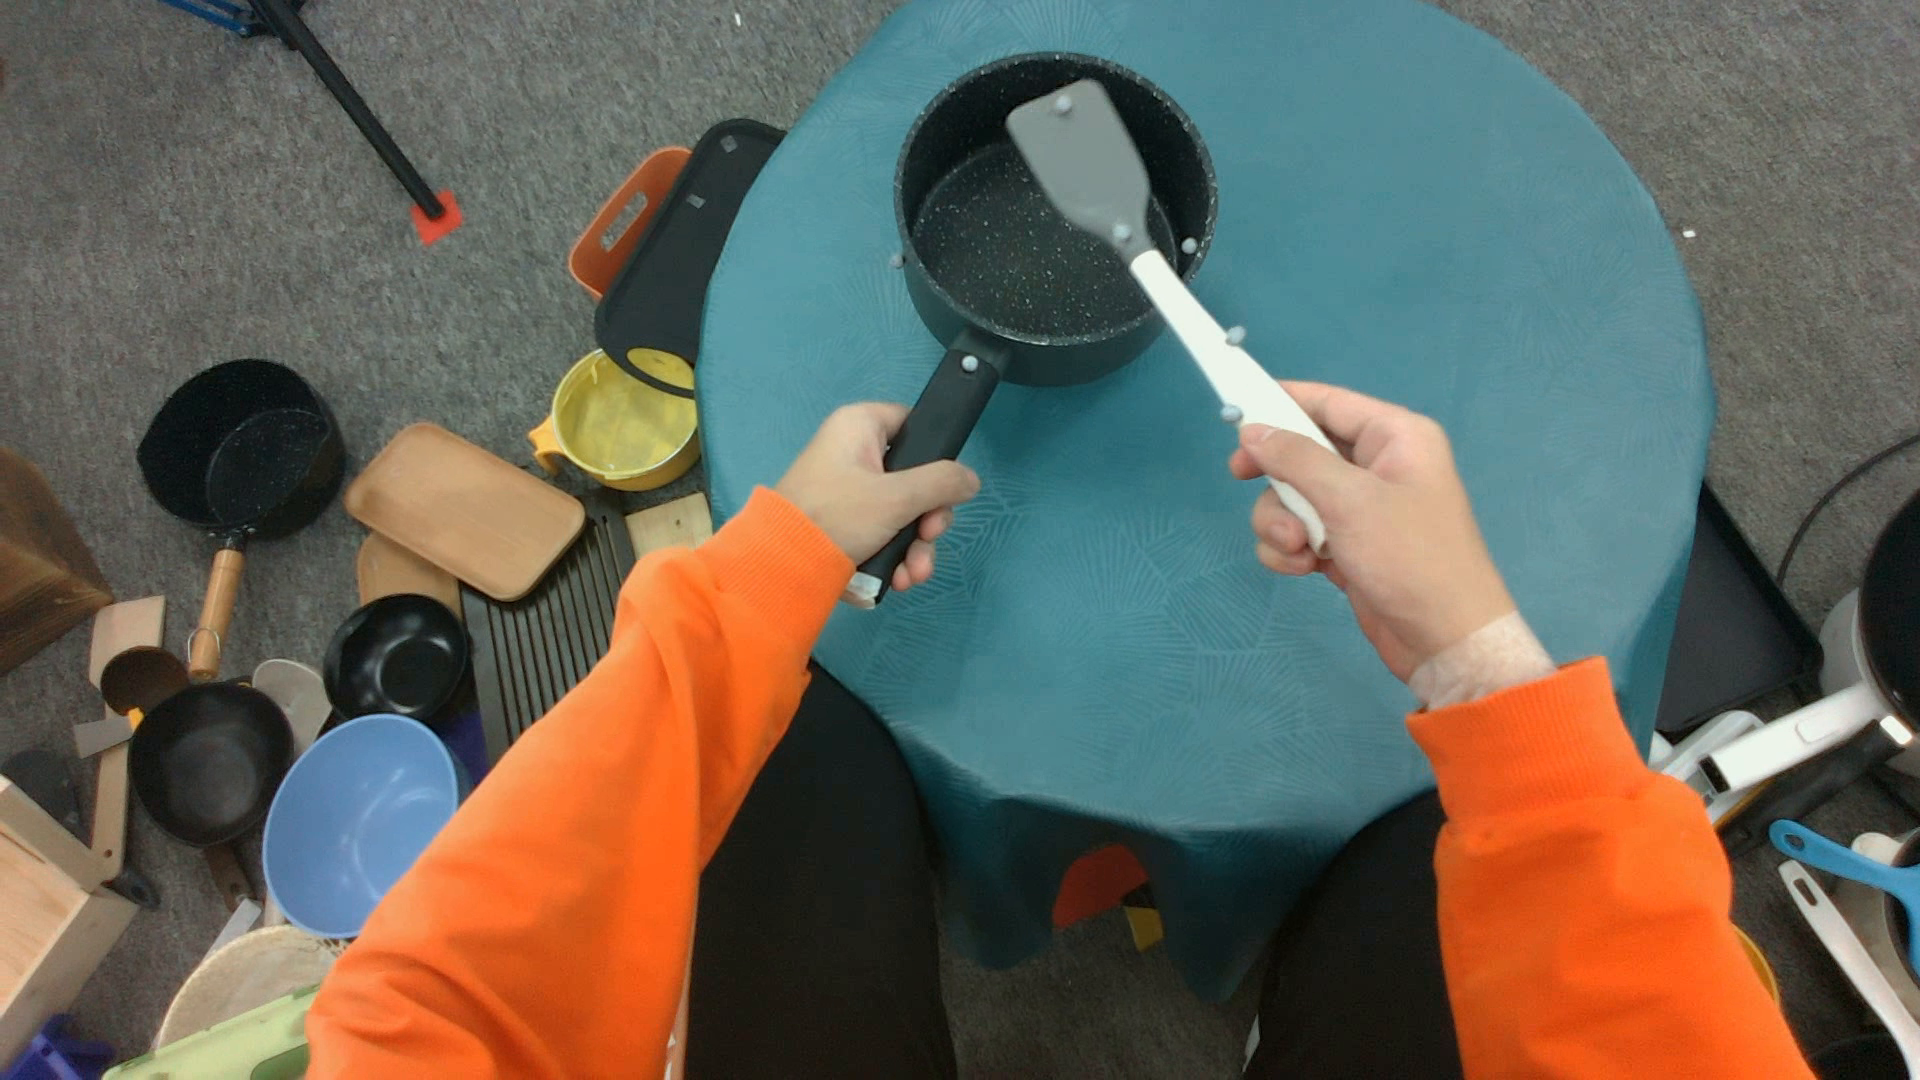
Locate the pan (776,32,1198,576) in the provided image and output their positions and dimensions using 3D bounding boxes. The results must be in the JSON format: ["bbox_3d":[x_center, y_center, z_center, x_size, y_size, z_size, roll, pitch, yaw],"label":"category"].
[{"bbox_3d":[0.002,-0.116,0.733,0.172,0.086,0.329,27,73,6],"label":"pan"}]

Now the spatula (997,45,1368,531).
[{"bbox_3d":[0.098,-0.126,0.640,0.059,0.032,0.288,-26,62,-2],"label":"spatula"}]
